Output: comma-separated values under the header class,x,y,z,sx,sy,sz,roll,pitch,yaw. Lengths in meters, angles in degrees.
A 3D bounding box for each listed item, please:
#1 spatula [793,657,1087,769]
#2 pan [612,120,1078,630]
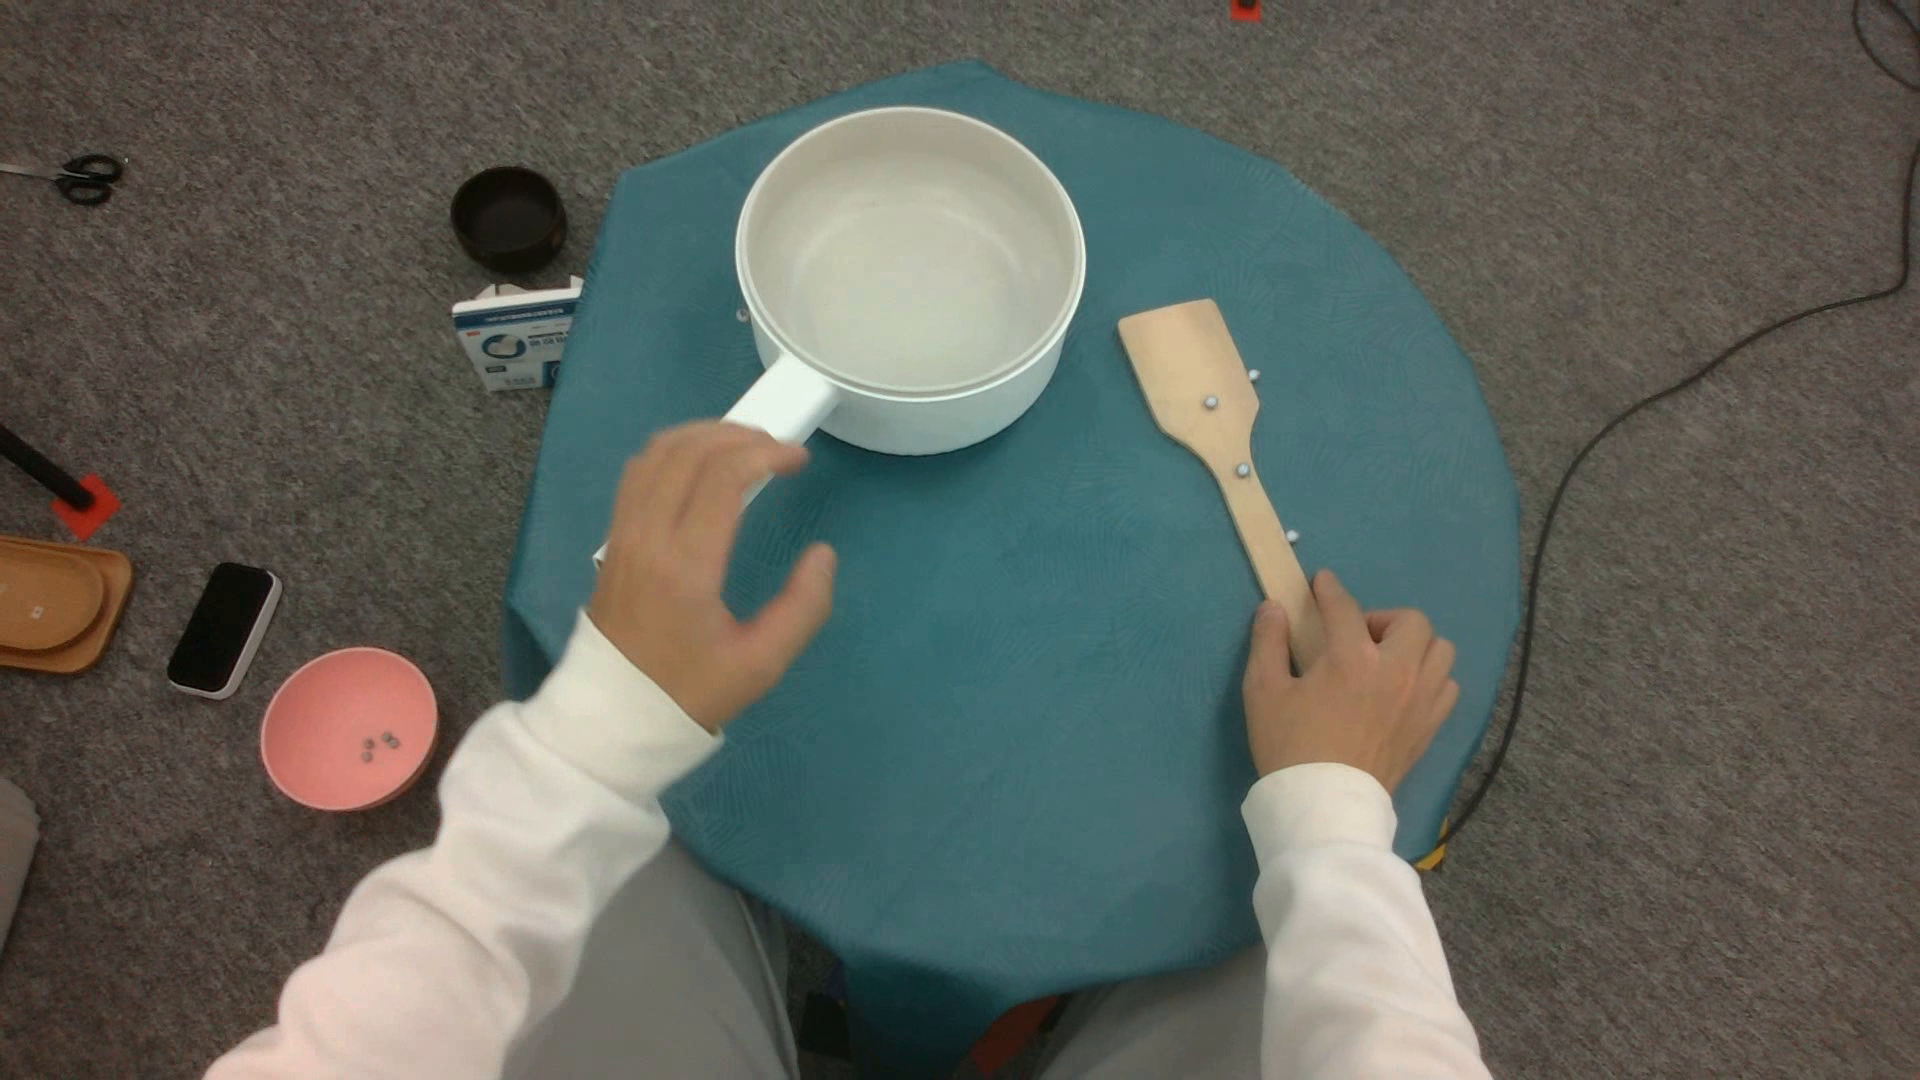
class,x,y,z,sx,sy,sz,roll,pitch,yaw
spatula,-0.023,0.162,1.356,0.293,0.010,0.072,13,67,4
pan,-0.075,-0.088,0.826,0.201,0.102,0.356,32,71,8
